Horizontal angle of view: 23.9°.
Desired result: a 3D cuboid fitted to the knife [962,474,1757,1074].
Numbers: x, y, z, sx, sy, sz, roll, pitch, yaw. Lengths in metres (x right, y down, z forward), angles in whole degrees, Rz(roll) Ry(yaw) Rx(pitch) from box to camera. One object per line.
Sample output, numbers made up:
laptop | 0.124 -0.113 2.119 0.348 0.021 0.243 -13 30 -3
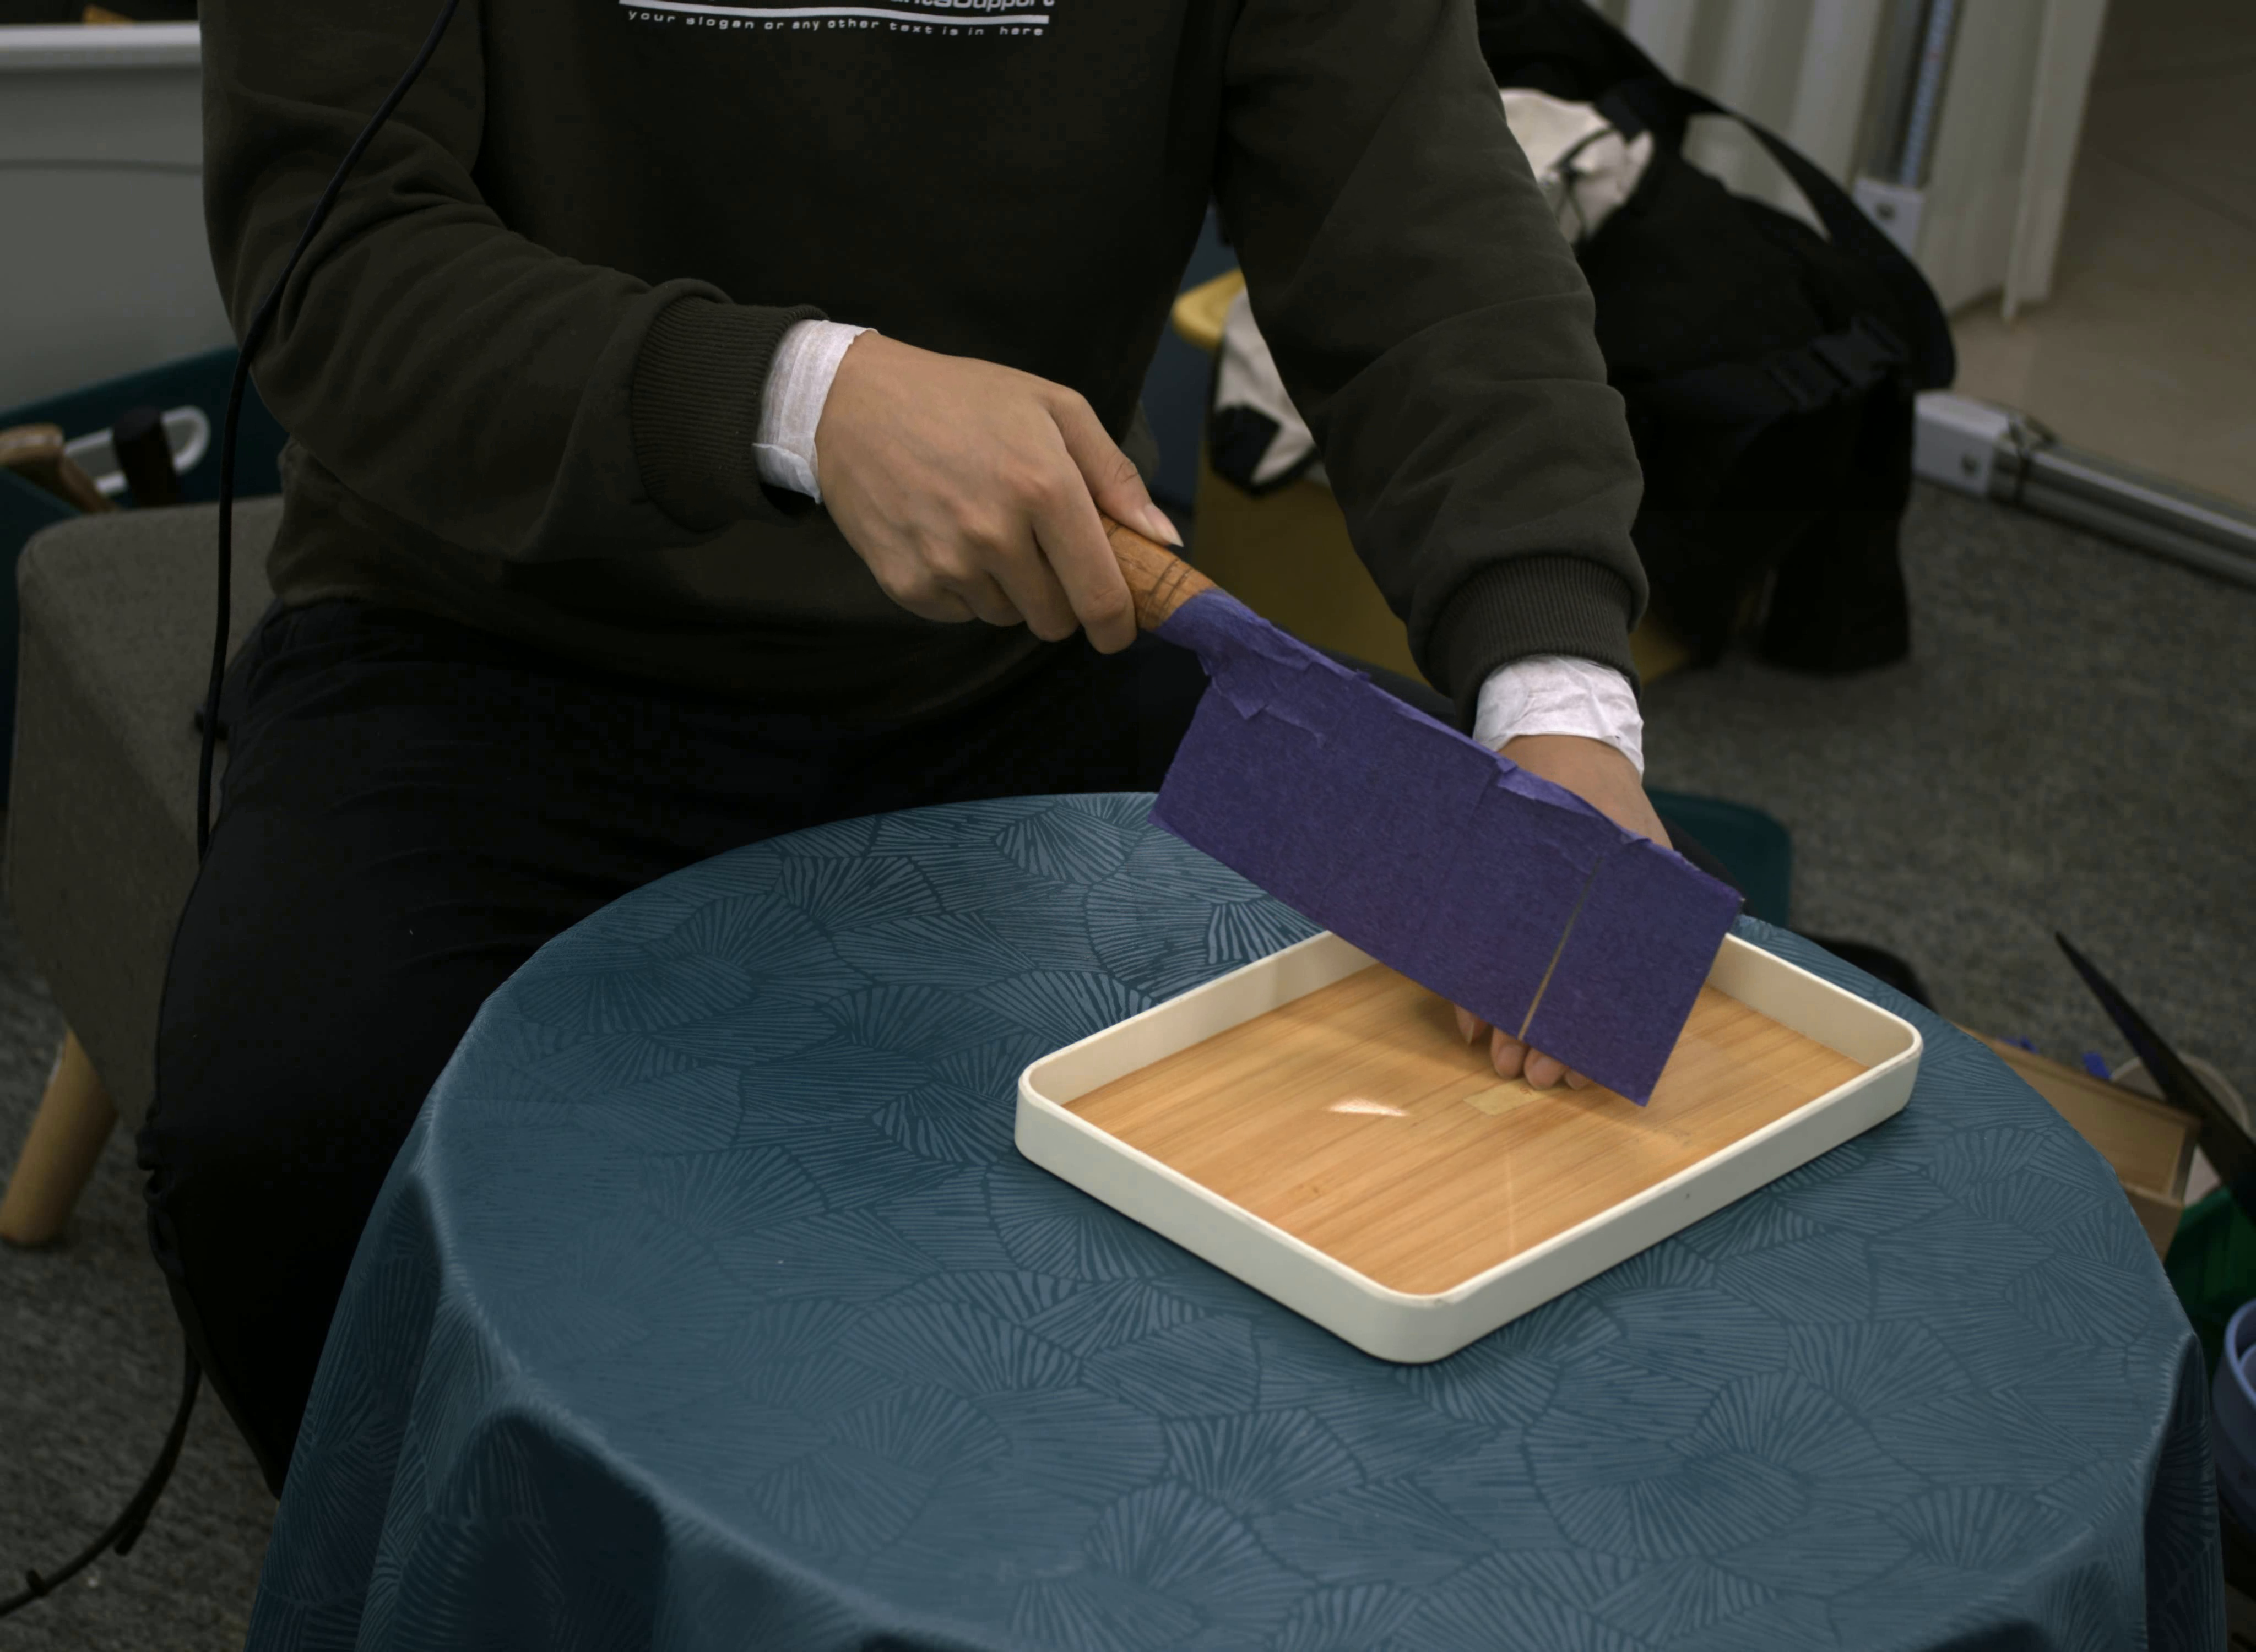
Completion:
knife | 0.067 -0.015 1.880 0.316 0.104 0.032 30 22 17

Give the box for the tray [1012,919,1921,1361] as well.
tray | 0.122 0.091 1.867 0.193 0.027 0.299 28 34 35
